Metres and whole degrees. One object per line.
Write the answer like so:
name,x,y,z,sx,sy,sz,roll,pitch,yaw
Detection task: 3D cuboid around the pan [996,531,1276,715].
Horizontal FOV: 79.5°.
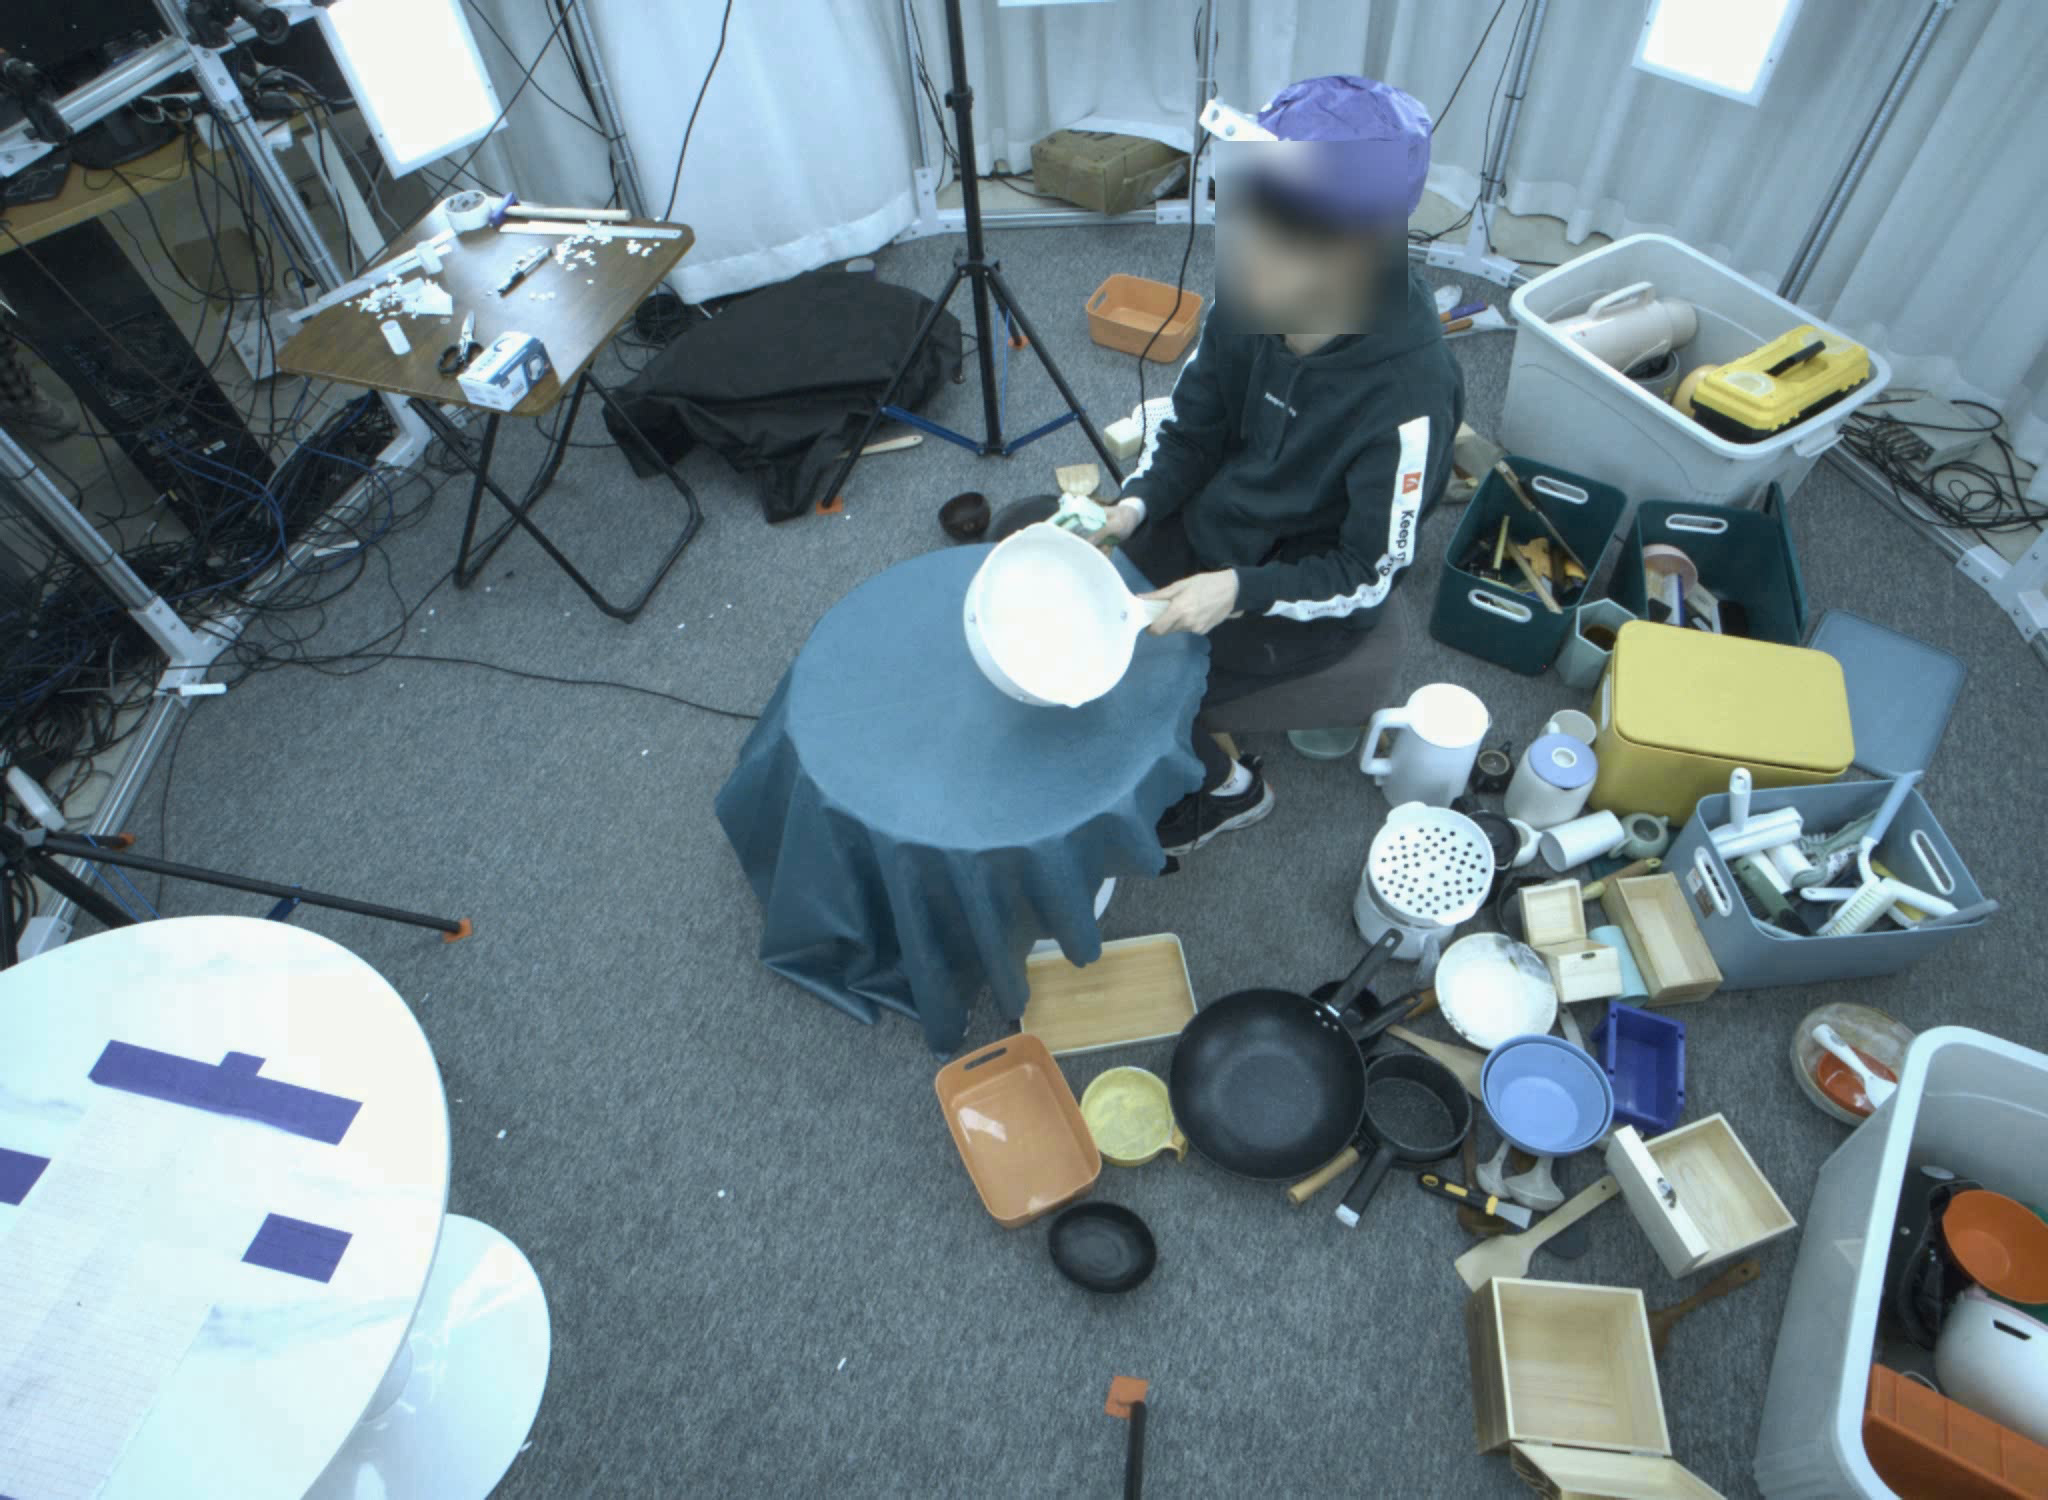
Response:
pan,0.158,-0.173,1.746,0.443,0.100,0.262,-4,80,-30

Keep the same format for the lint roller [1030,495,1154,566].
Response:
lint roller,0.118,-0.321,1.813,0.186,0.196,0.082,-25,87,-43
